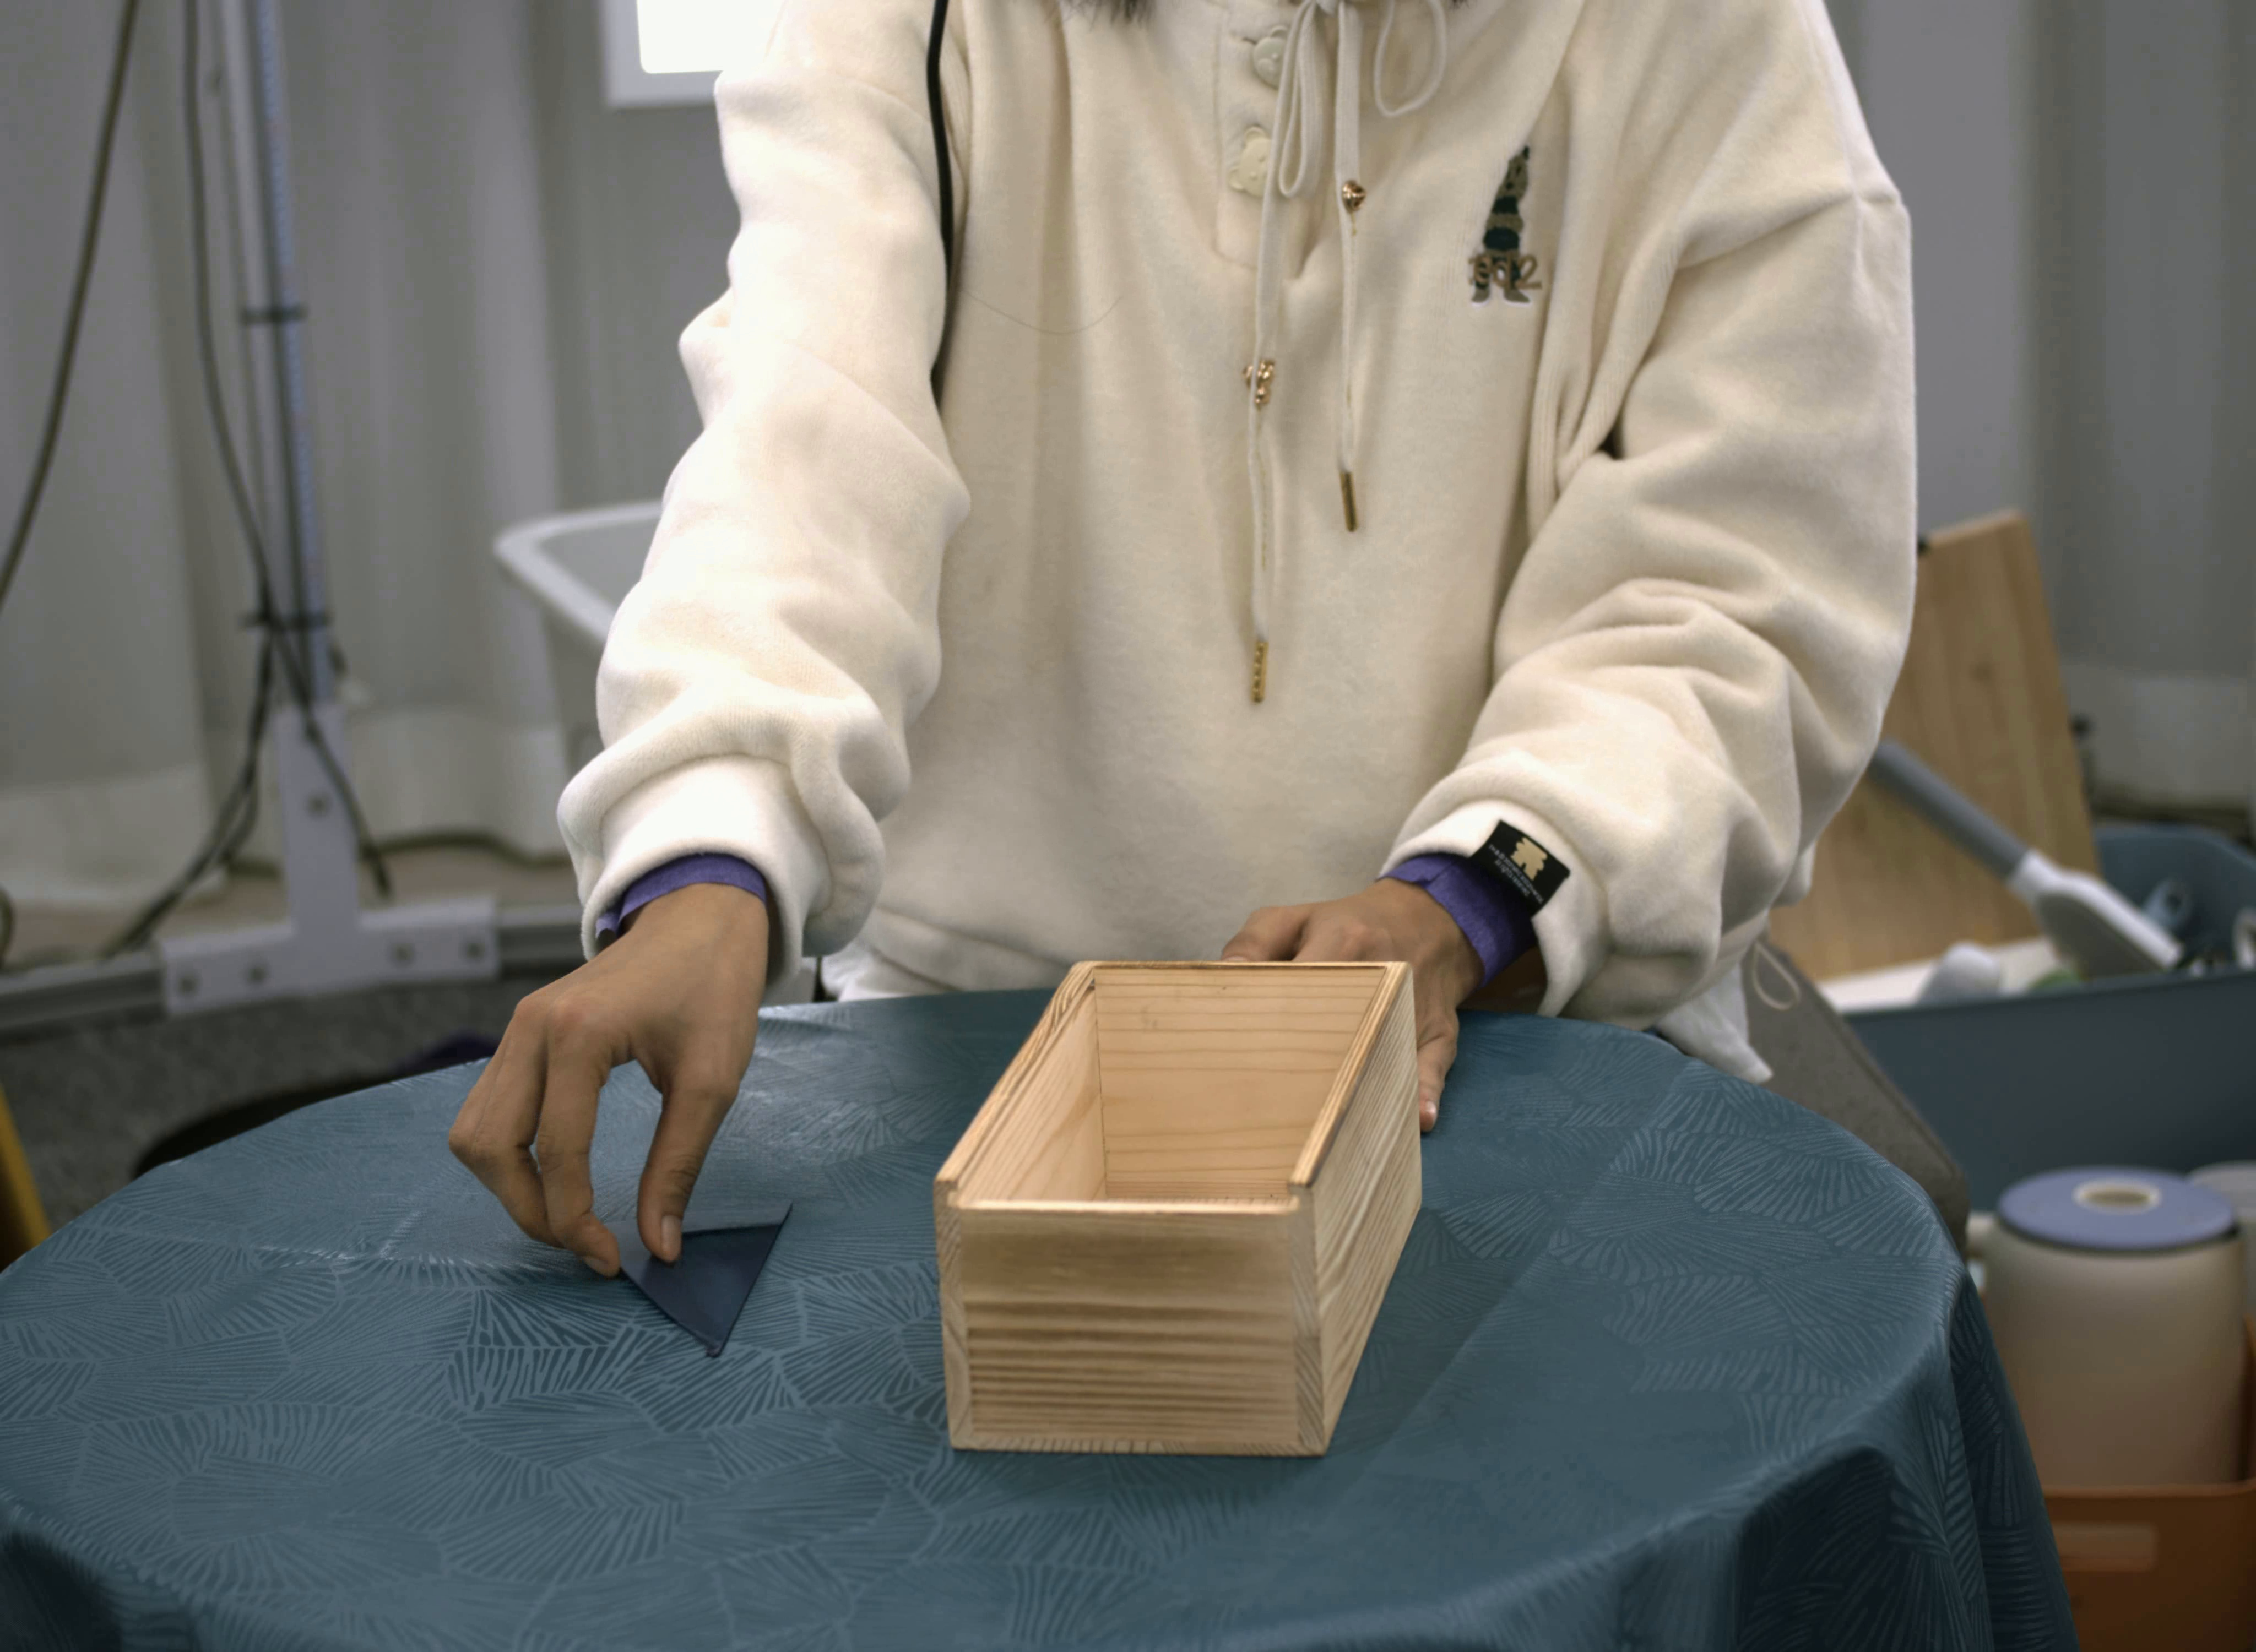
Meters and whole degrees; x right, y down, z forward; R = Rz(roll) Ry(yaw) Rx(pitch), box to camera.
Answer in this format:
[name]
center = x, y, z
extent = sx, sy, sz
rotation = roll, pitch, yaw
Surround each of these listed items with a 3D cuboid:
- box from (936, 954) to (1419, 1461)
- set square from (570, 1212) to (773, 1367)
[box]
center = 0.019, 0.106, 1.587
extent = 0.107, 0.080, 0.212
rotation = 0, 15, 10
[set square]
center = -0.149, 0.136, 1.647
extent = 0.061, 0.006, 0.132
rotation = 5, 16, 10
